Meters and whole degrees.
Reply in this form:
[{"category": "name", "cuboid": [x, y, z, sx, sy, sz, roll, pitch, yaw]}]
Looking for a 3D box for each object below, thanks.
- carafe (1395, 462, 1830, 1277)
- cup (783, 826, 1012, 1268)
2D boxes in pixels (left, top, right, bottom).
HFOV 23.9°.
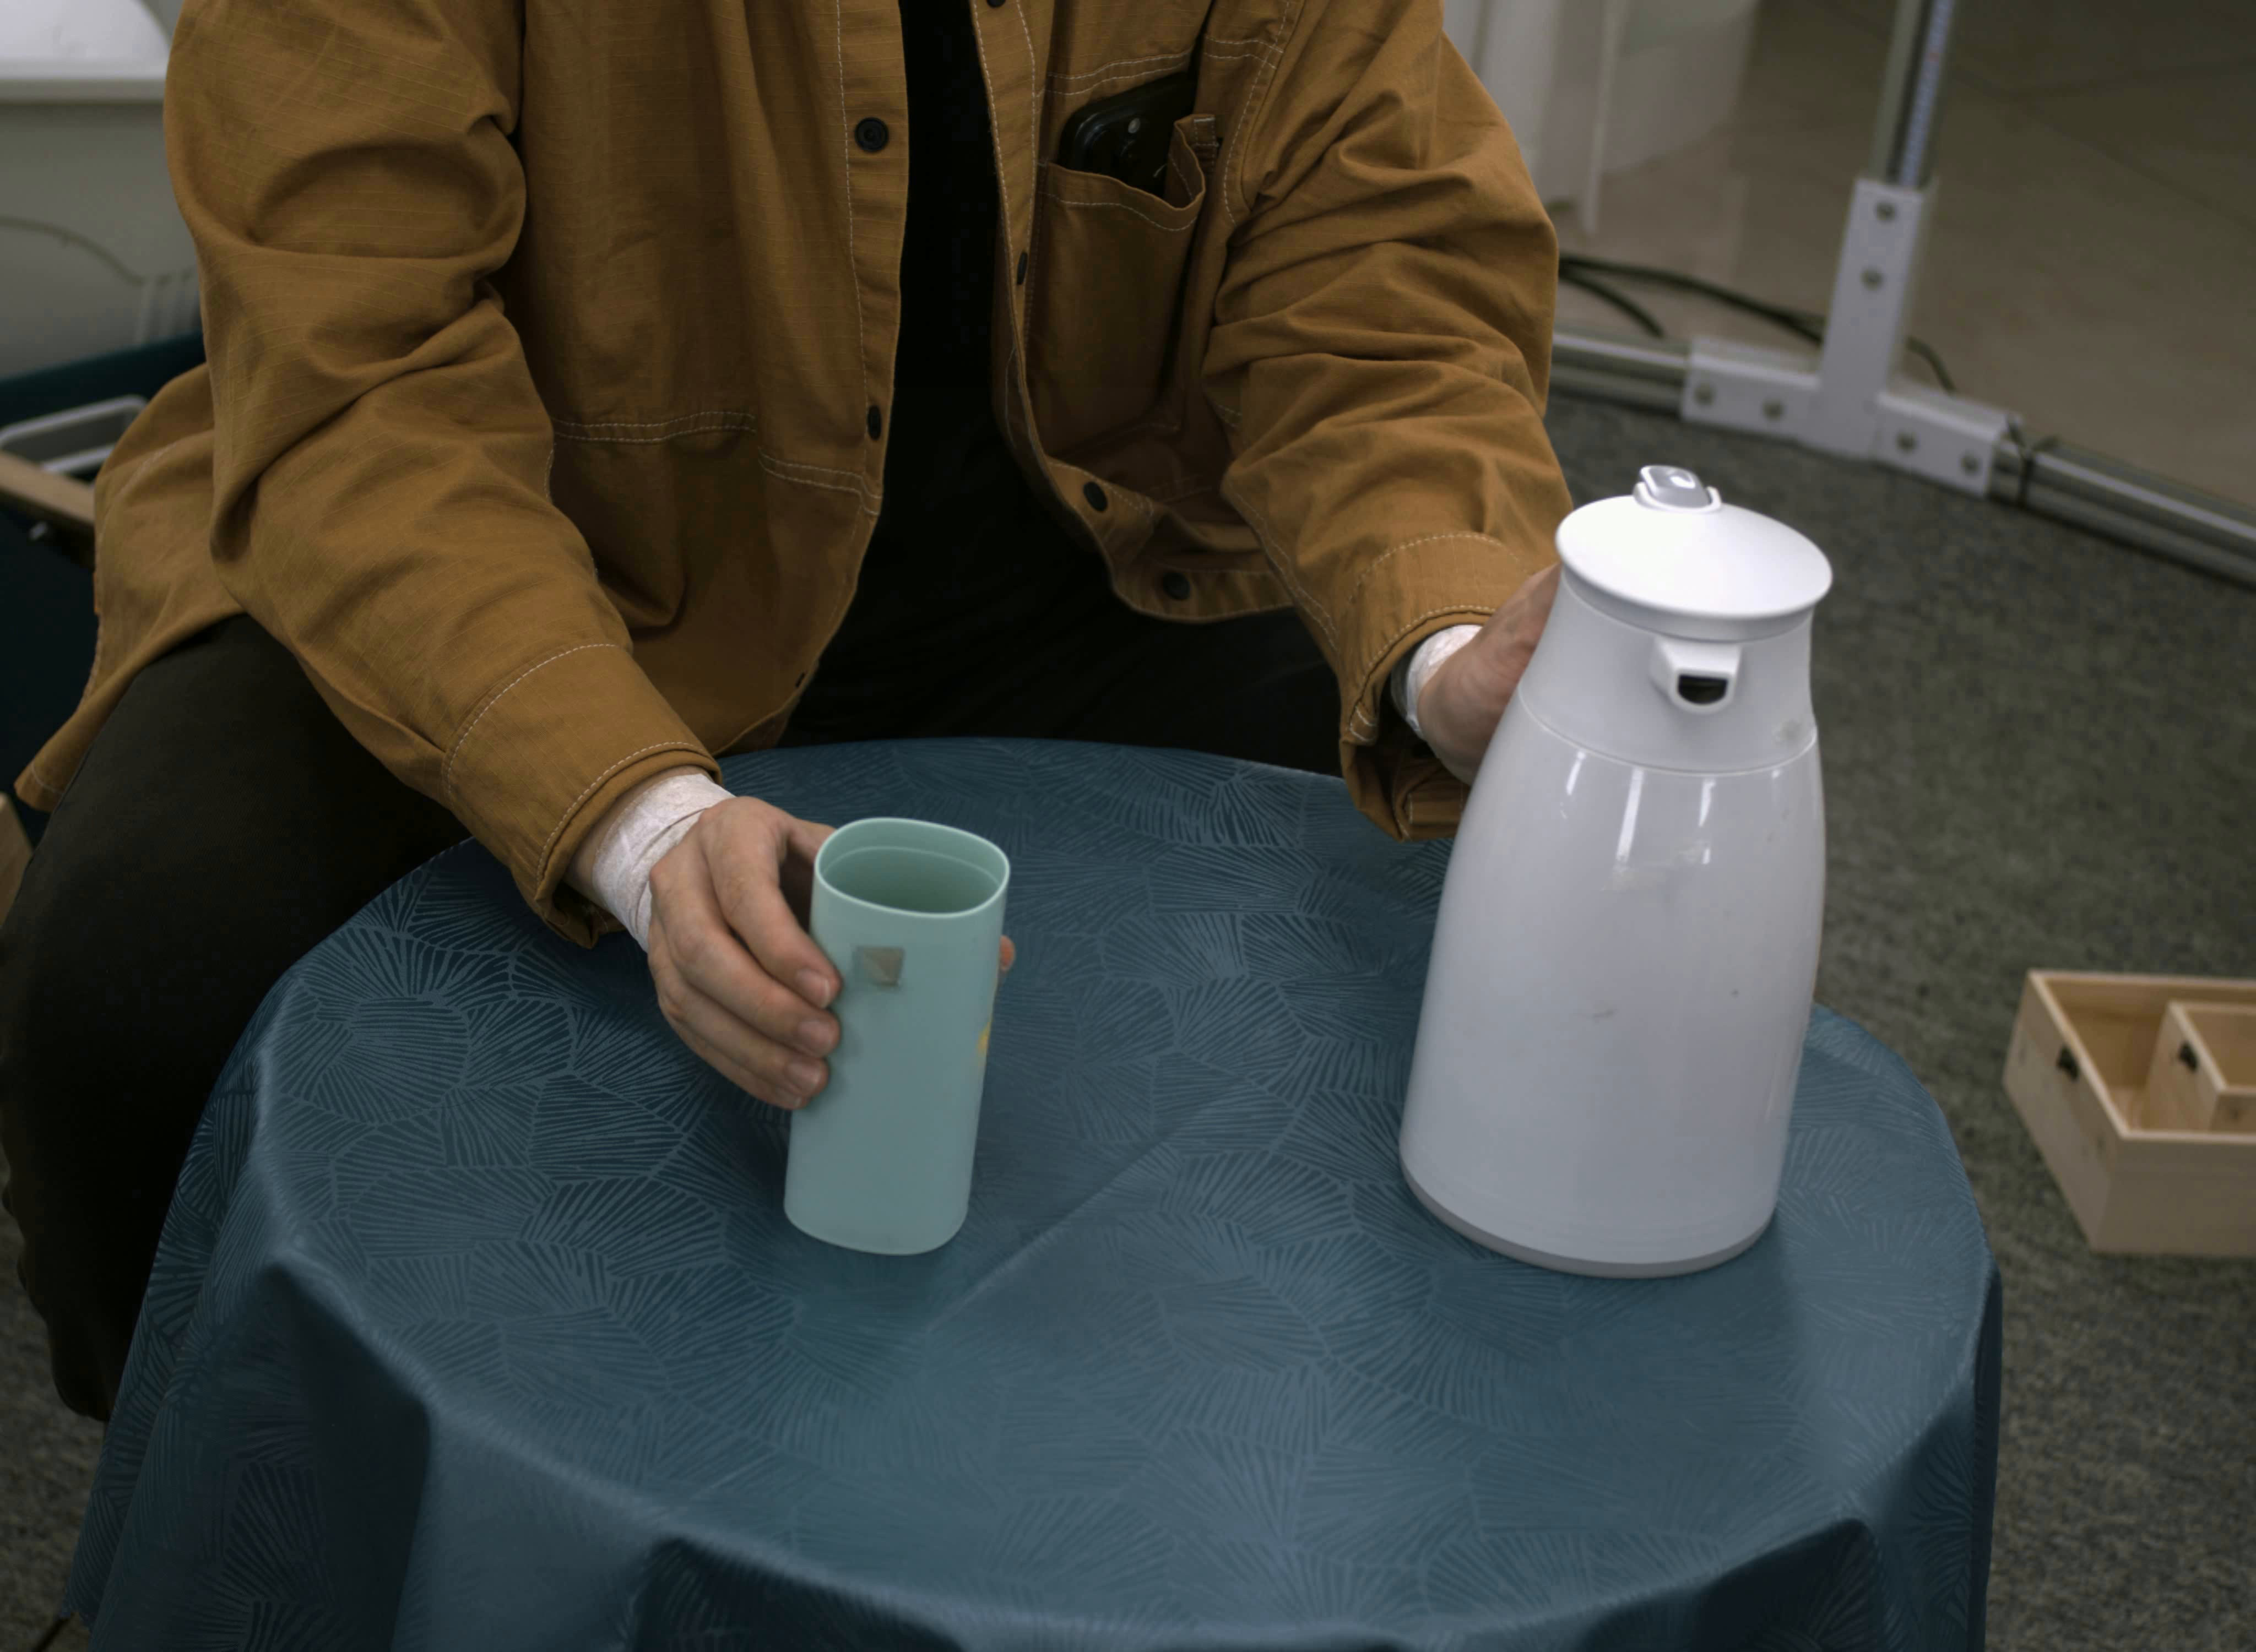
[{"category": "carafe", "cuboid": [0.170, 0.004, 1.806, 0.132, 0.248, 0.169, 5, 26, -3]}, {"category": "cup", "cuboid": [-0.078, 0.072, 1.752, 0.066, 0.132, 0.067, 6, 27, -3]}]
